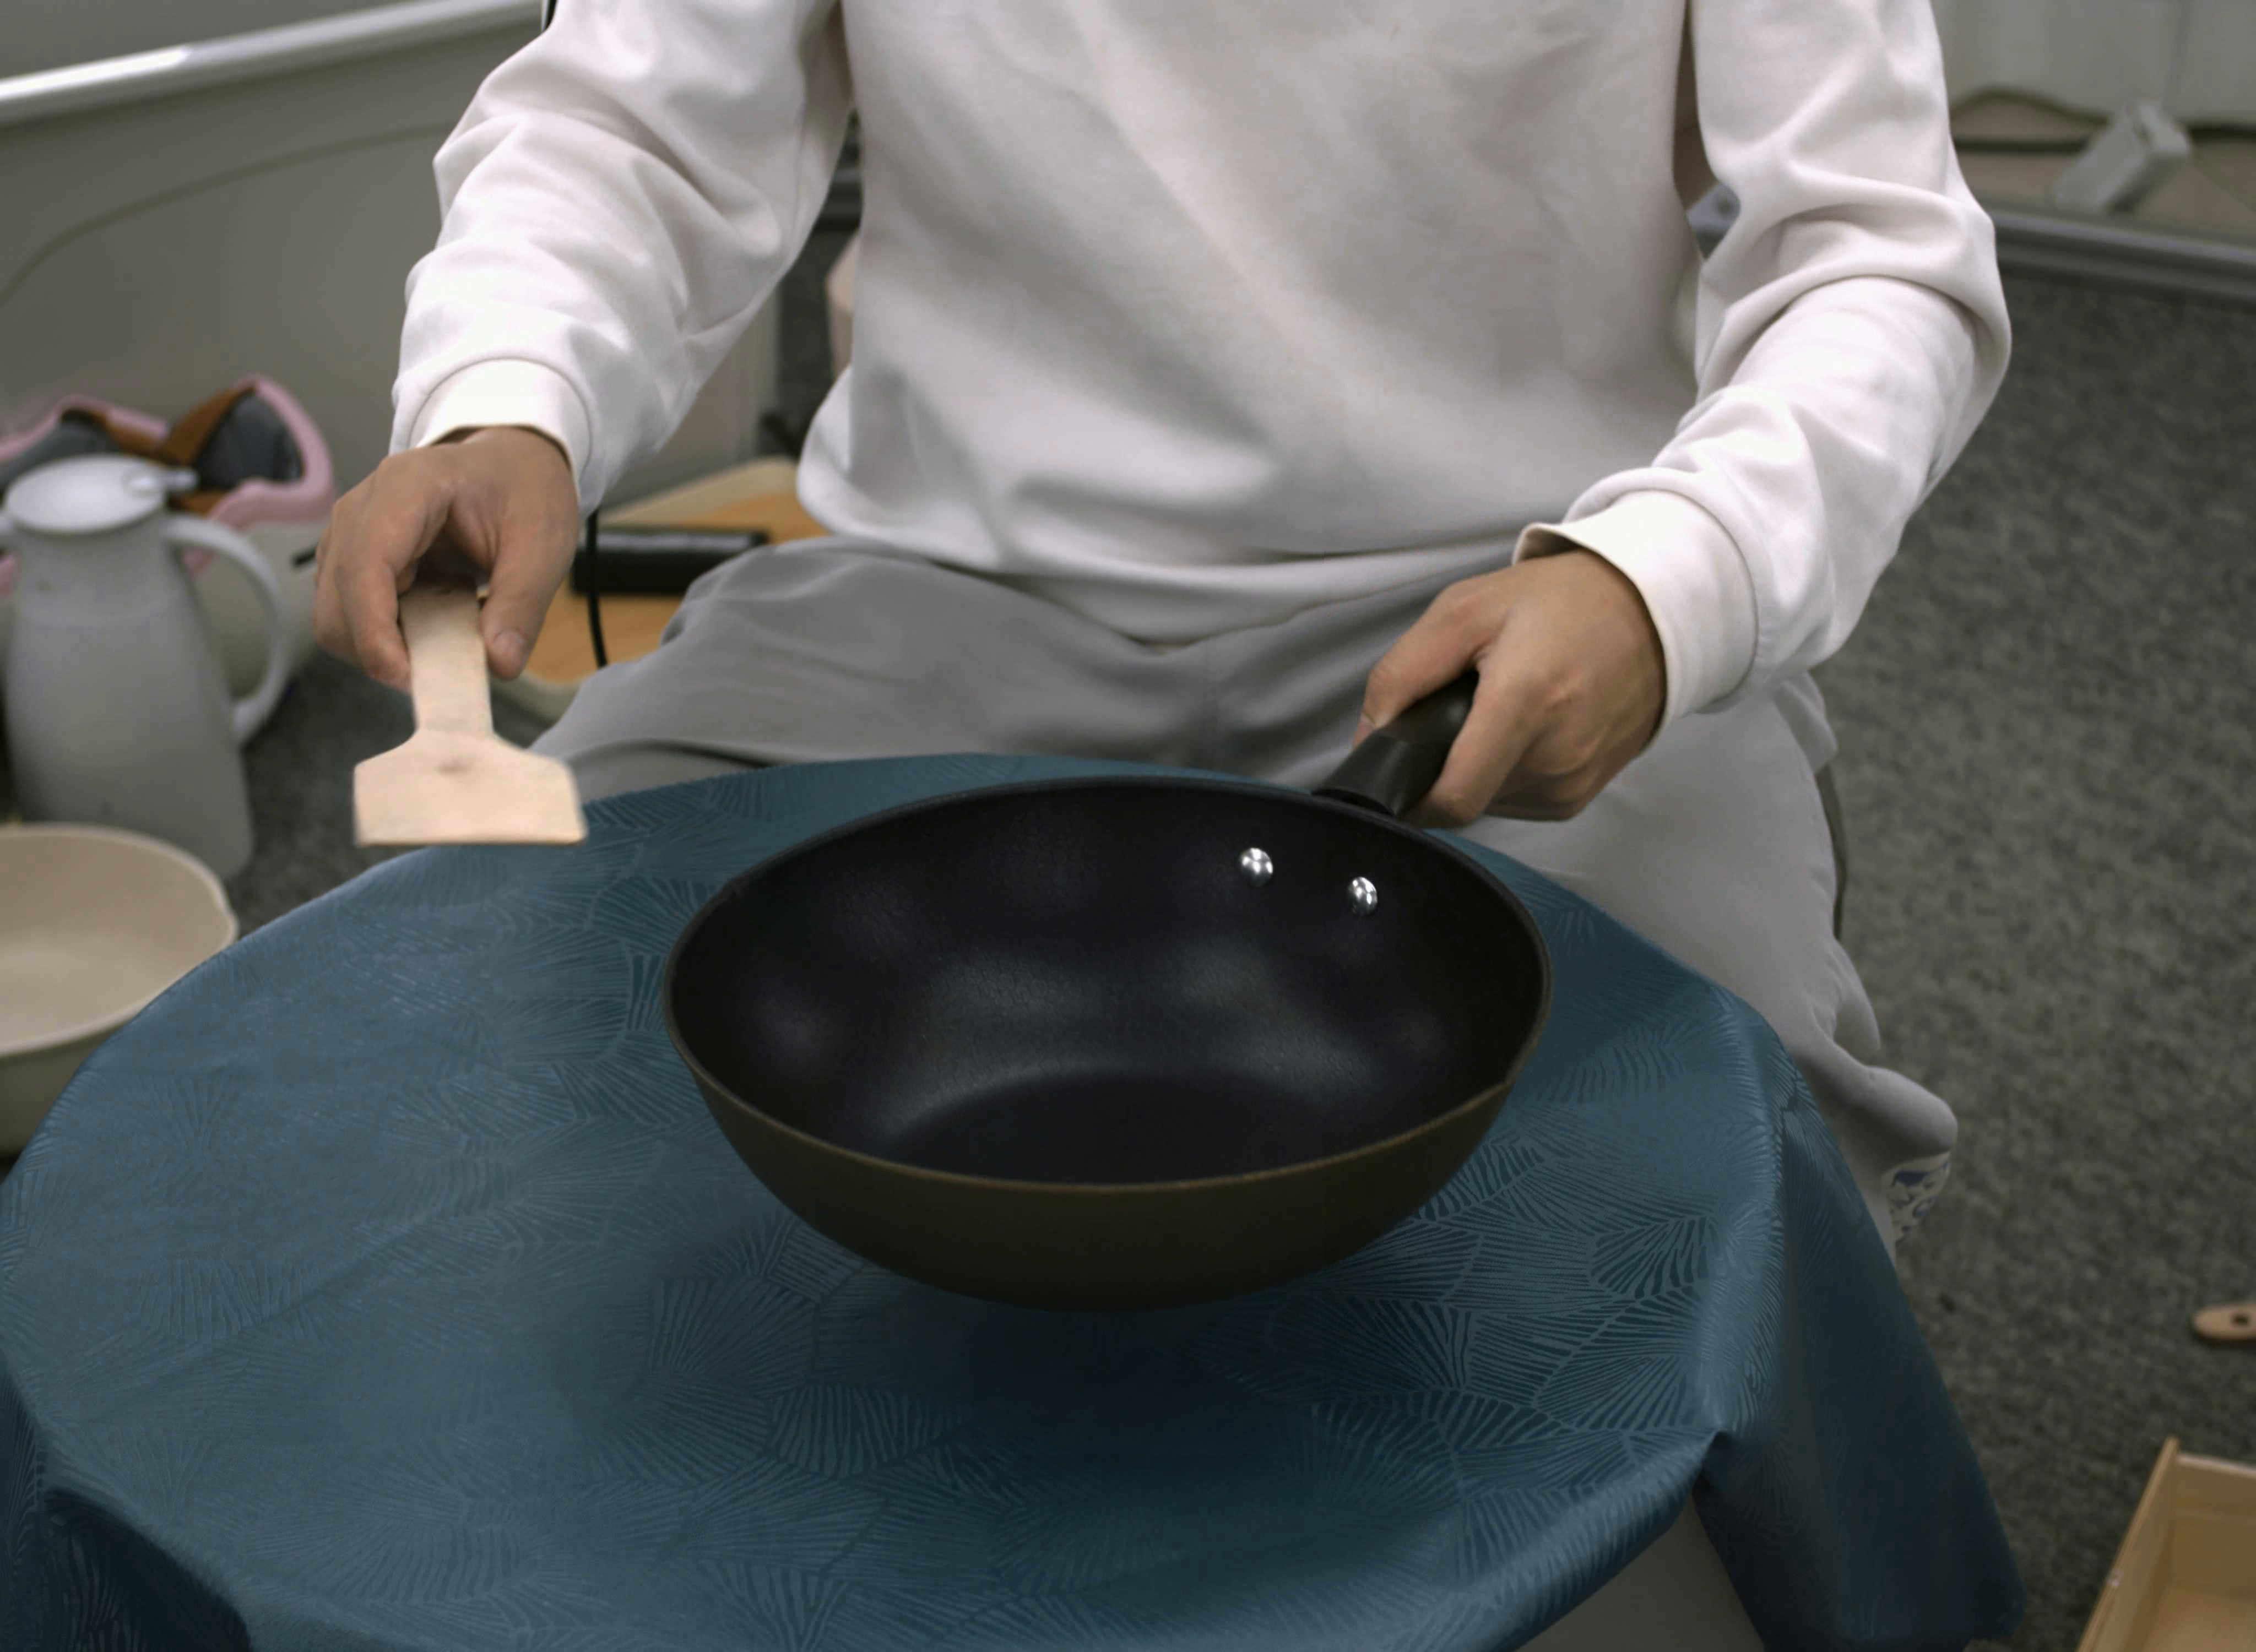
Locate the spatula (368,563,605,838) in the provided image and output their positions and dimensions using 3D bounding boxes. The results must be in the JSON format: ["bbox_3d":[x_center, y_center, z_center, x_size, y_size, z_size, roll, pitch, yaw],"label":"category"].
[{"bbox_3d":[-0.222,-0.043,1.878,0.072,0.010,0.295,-1,19,-10],"label":"spatula"}]

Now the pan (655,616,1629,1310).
[{"bbox_3d":[0.041,0.043,1.856,0.286,0.086,0.470,14,29,28],"label":"pan"}]
